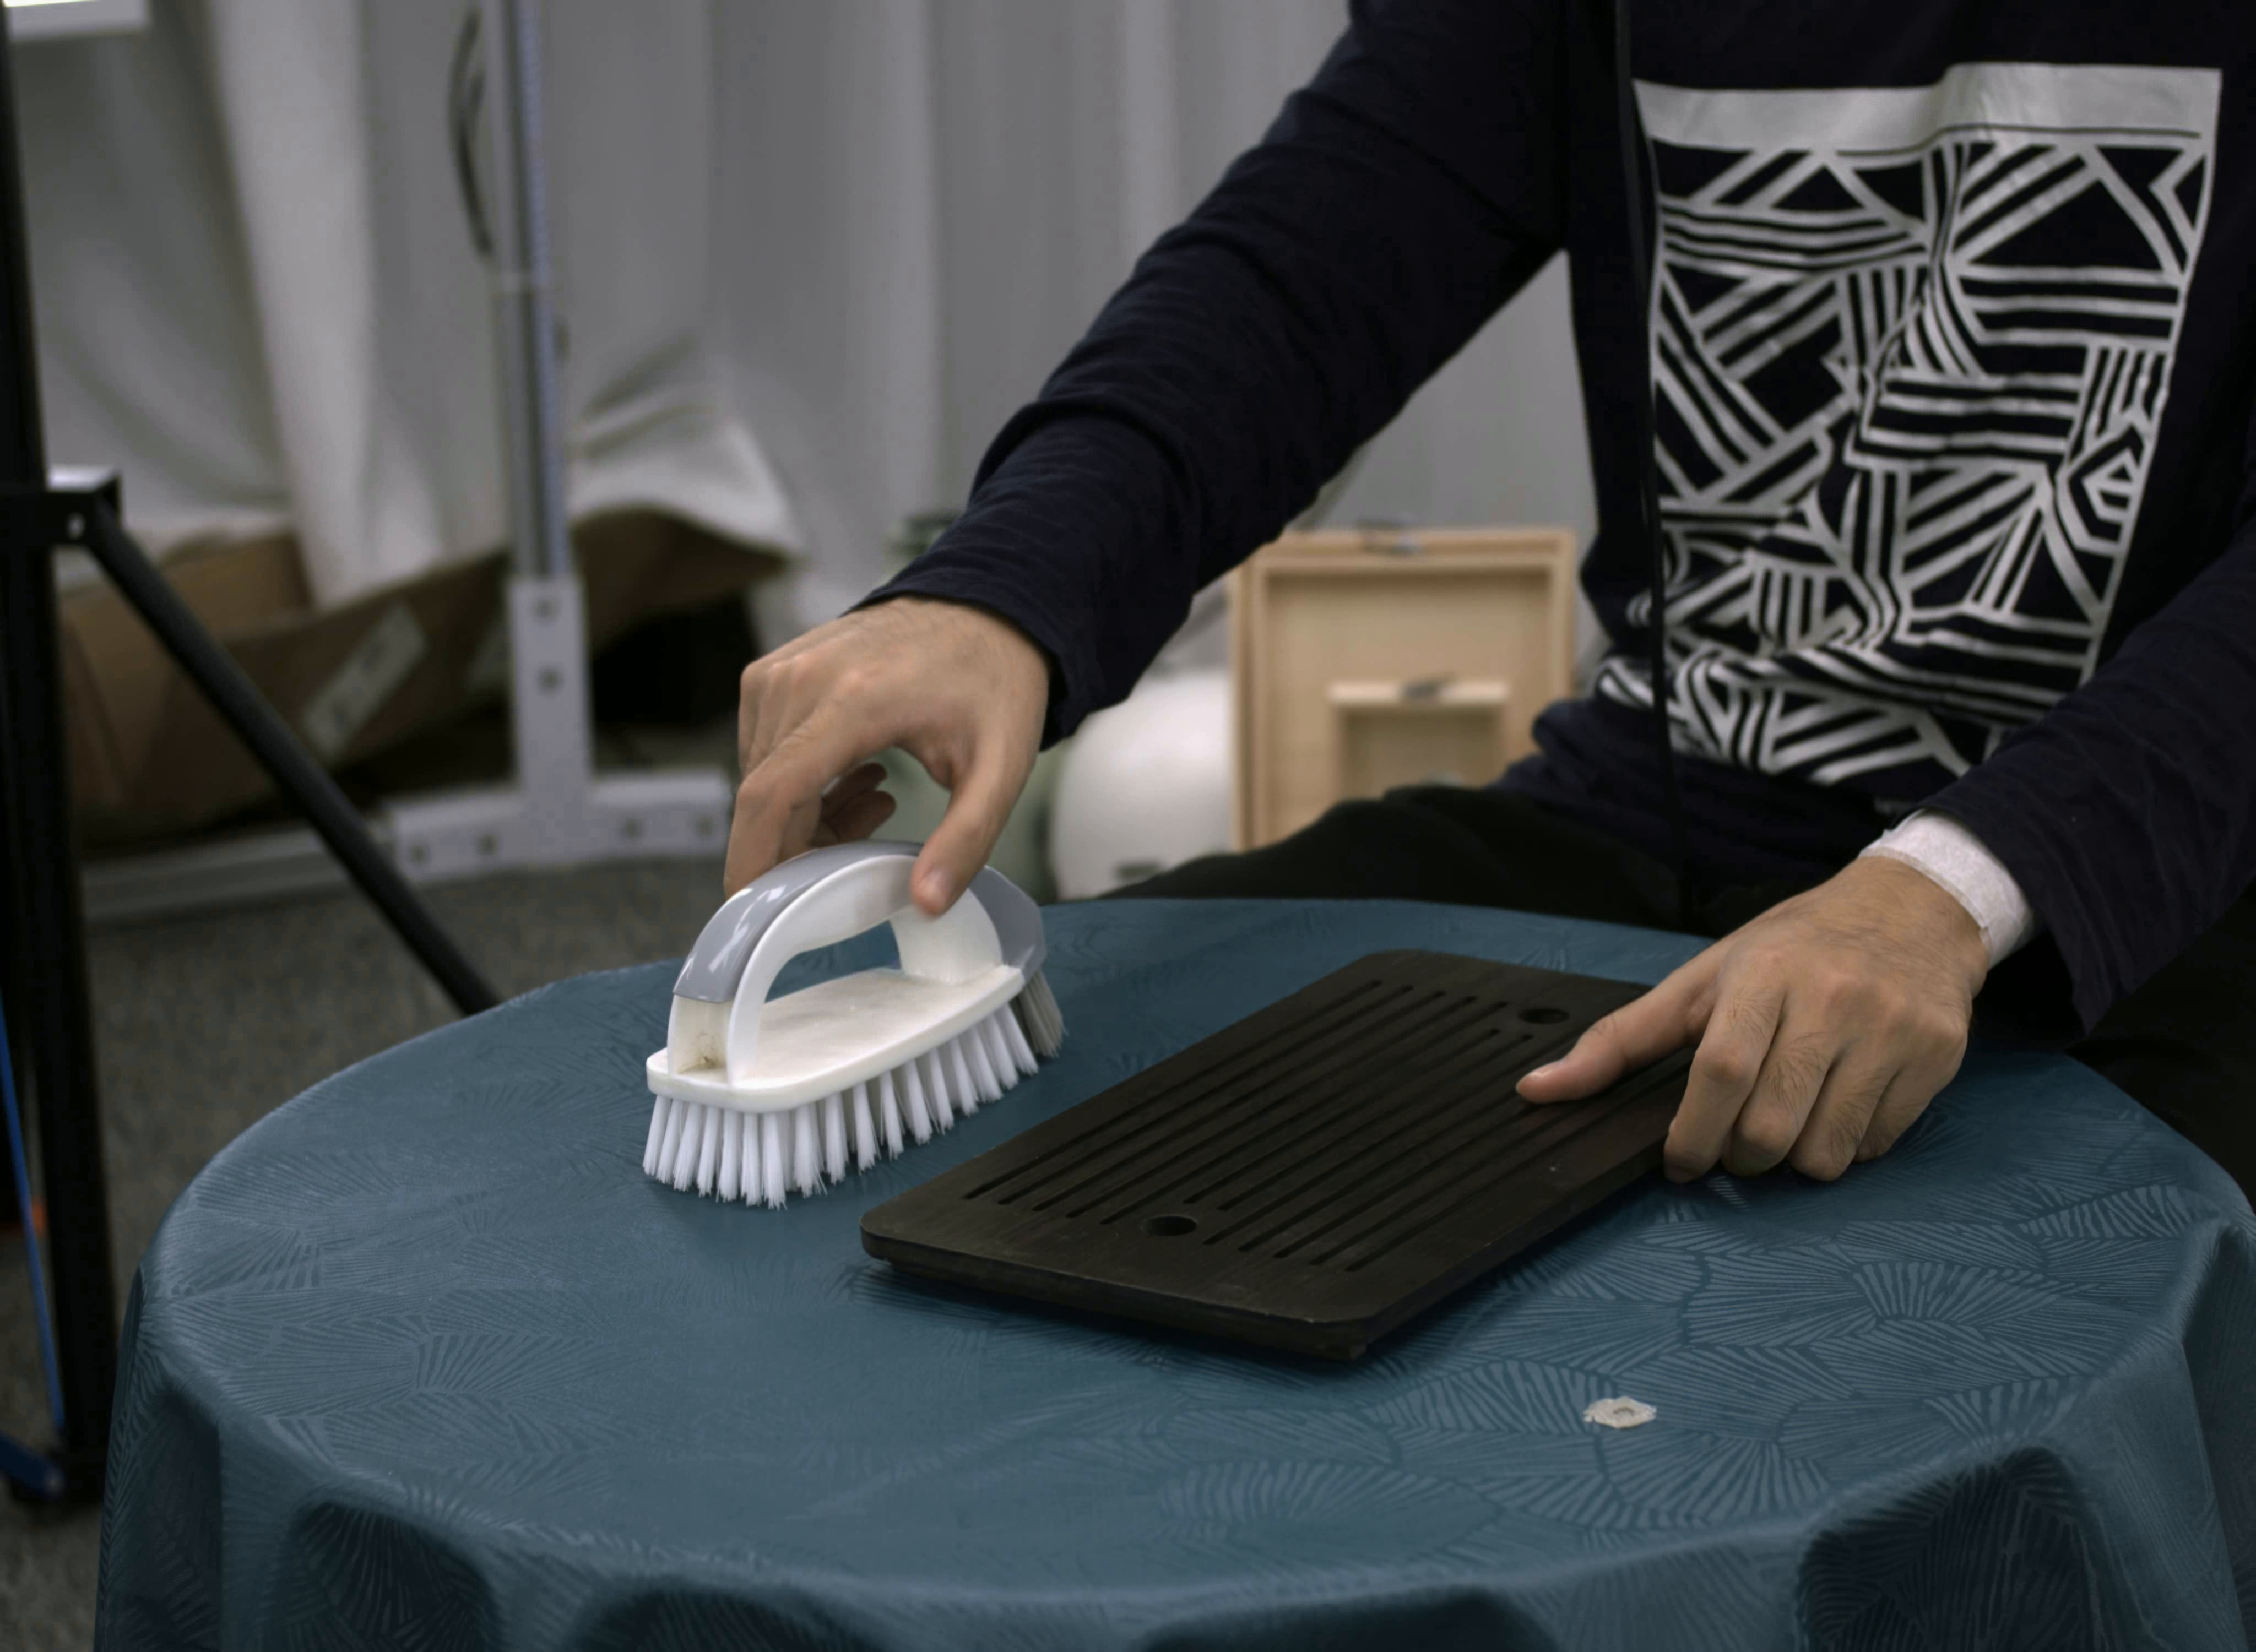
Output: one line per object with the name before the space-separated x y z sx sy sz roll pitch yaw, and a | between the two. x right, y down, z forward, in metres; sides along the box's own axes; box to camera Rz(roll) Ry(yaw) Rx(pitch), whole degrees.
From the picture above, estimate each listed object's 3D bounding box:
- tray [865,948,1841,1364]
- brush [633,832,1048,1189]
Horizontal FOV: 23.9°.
tray | 0.073 0.094 1.566 0.173 0.018 0.300 8 19 33
brush | -0.080 0.046 1.628 0.063 0.094 0.172 6 16 38
